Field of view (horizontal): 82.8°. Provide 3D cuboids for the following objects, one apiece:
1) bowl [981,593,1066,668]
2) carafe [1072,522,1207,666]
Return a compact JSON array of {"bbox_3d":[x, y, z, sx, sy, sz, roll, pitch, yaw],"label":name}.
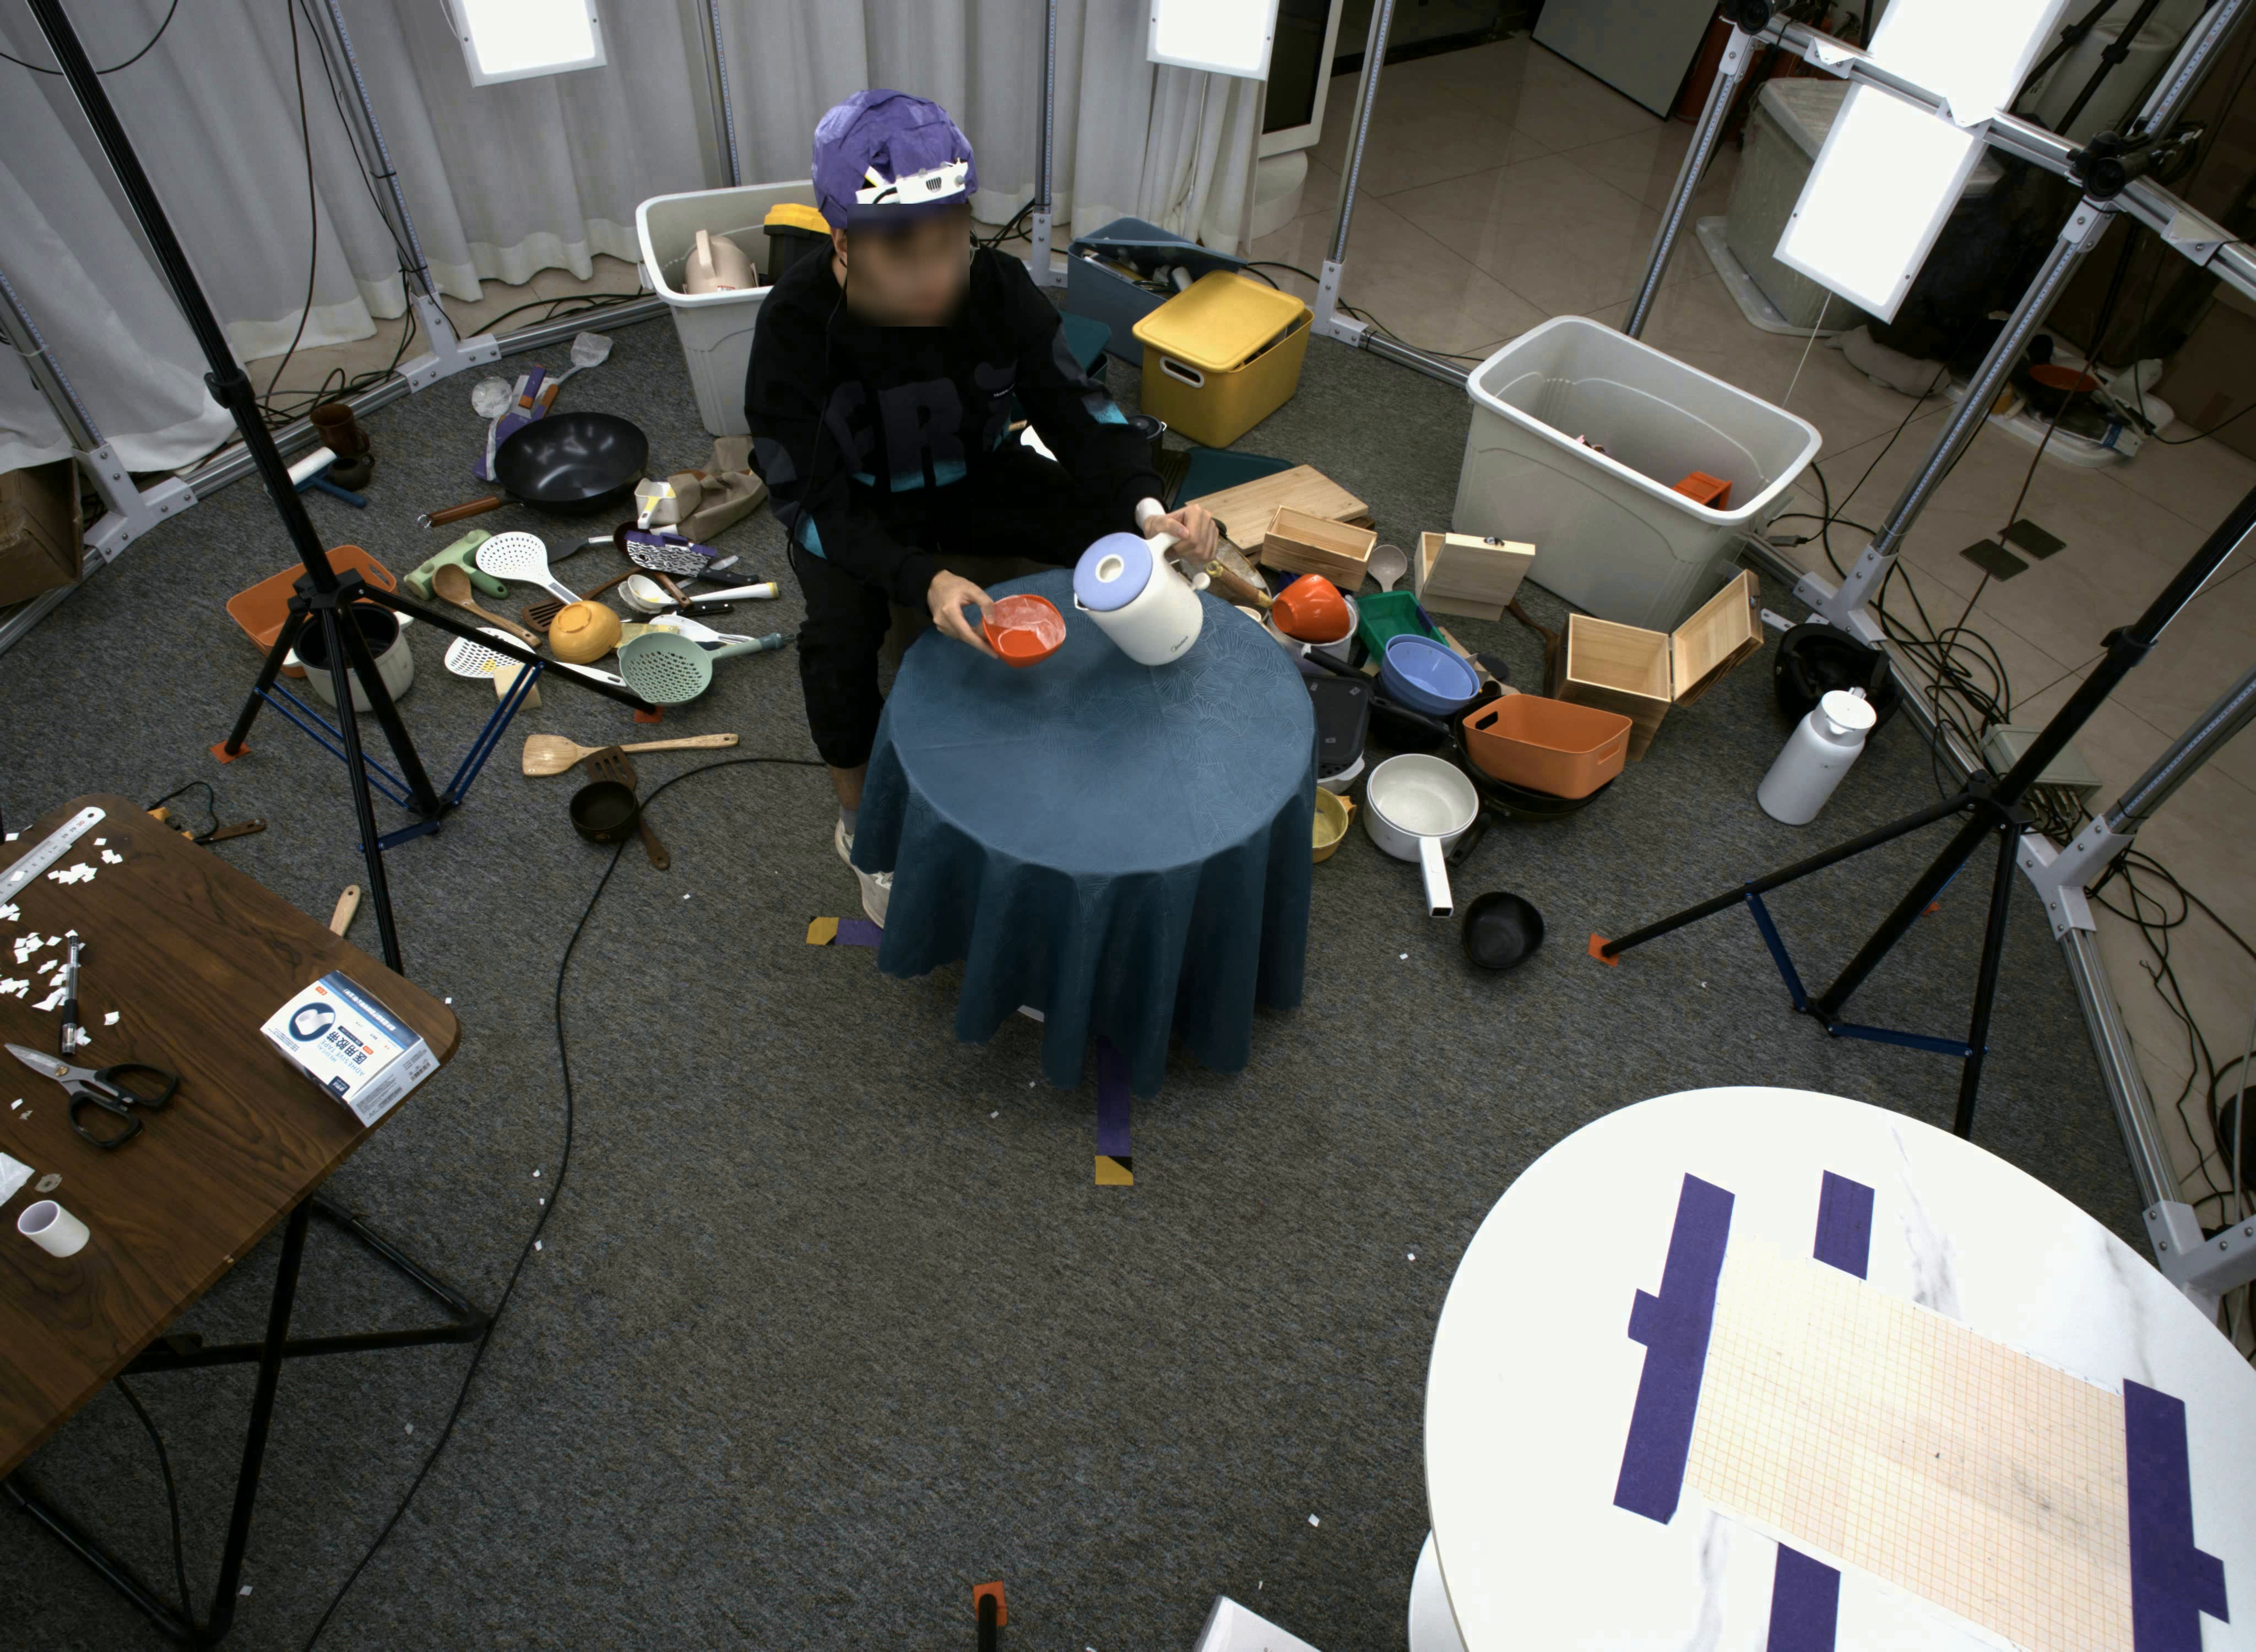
[{"bbox_3d":[-0.146,-0.265,1.787,0.119,0.050,0.122,3,57,-4],"label":"bowl"},{"bbox_3d":[0.031,-0.333,1.794,0.191,0.179,0.135,-43,58,3],"label":"carafe"}]
